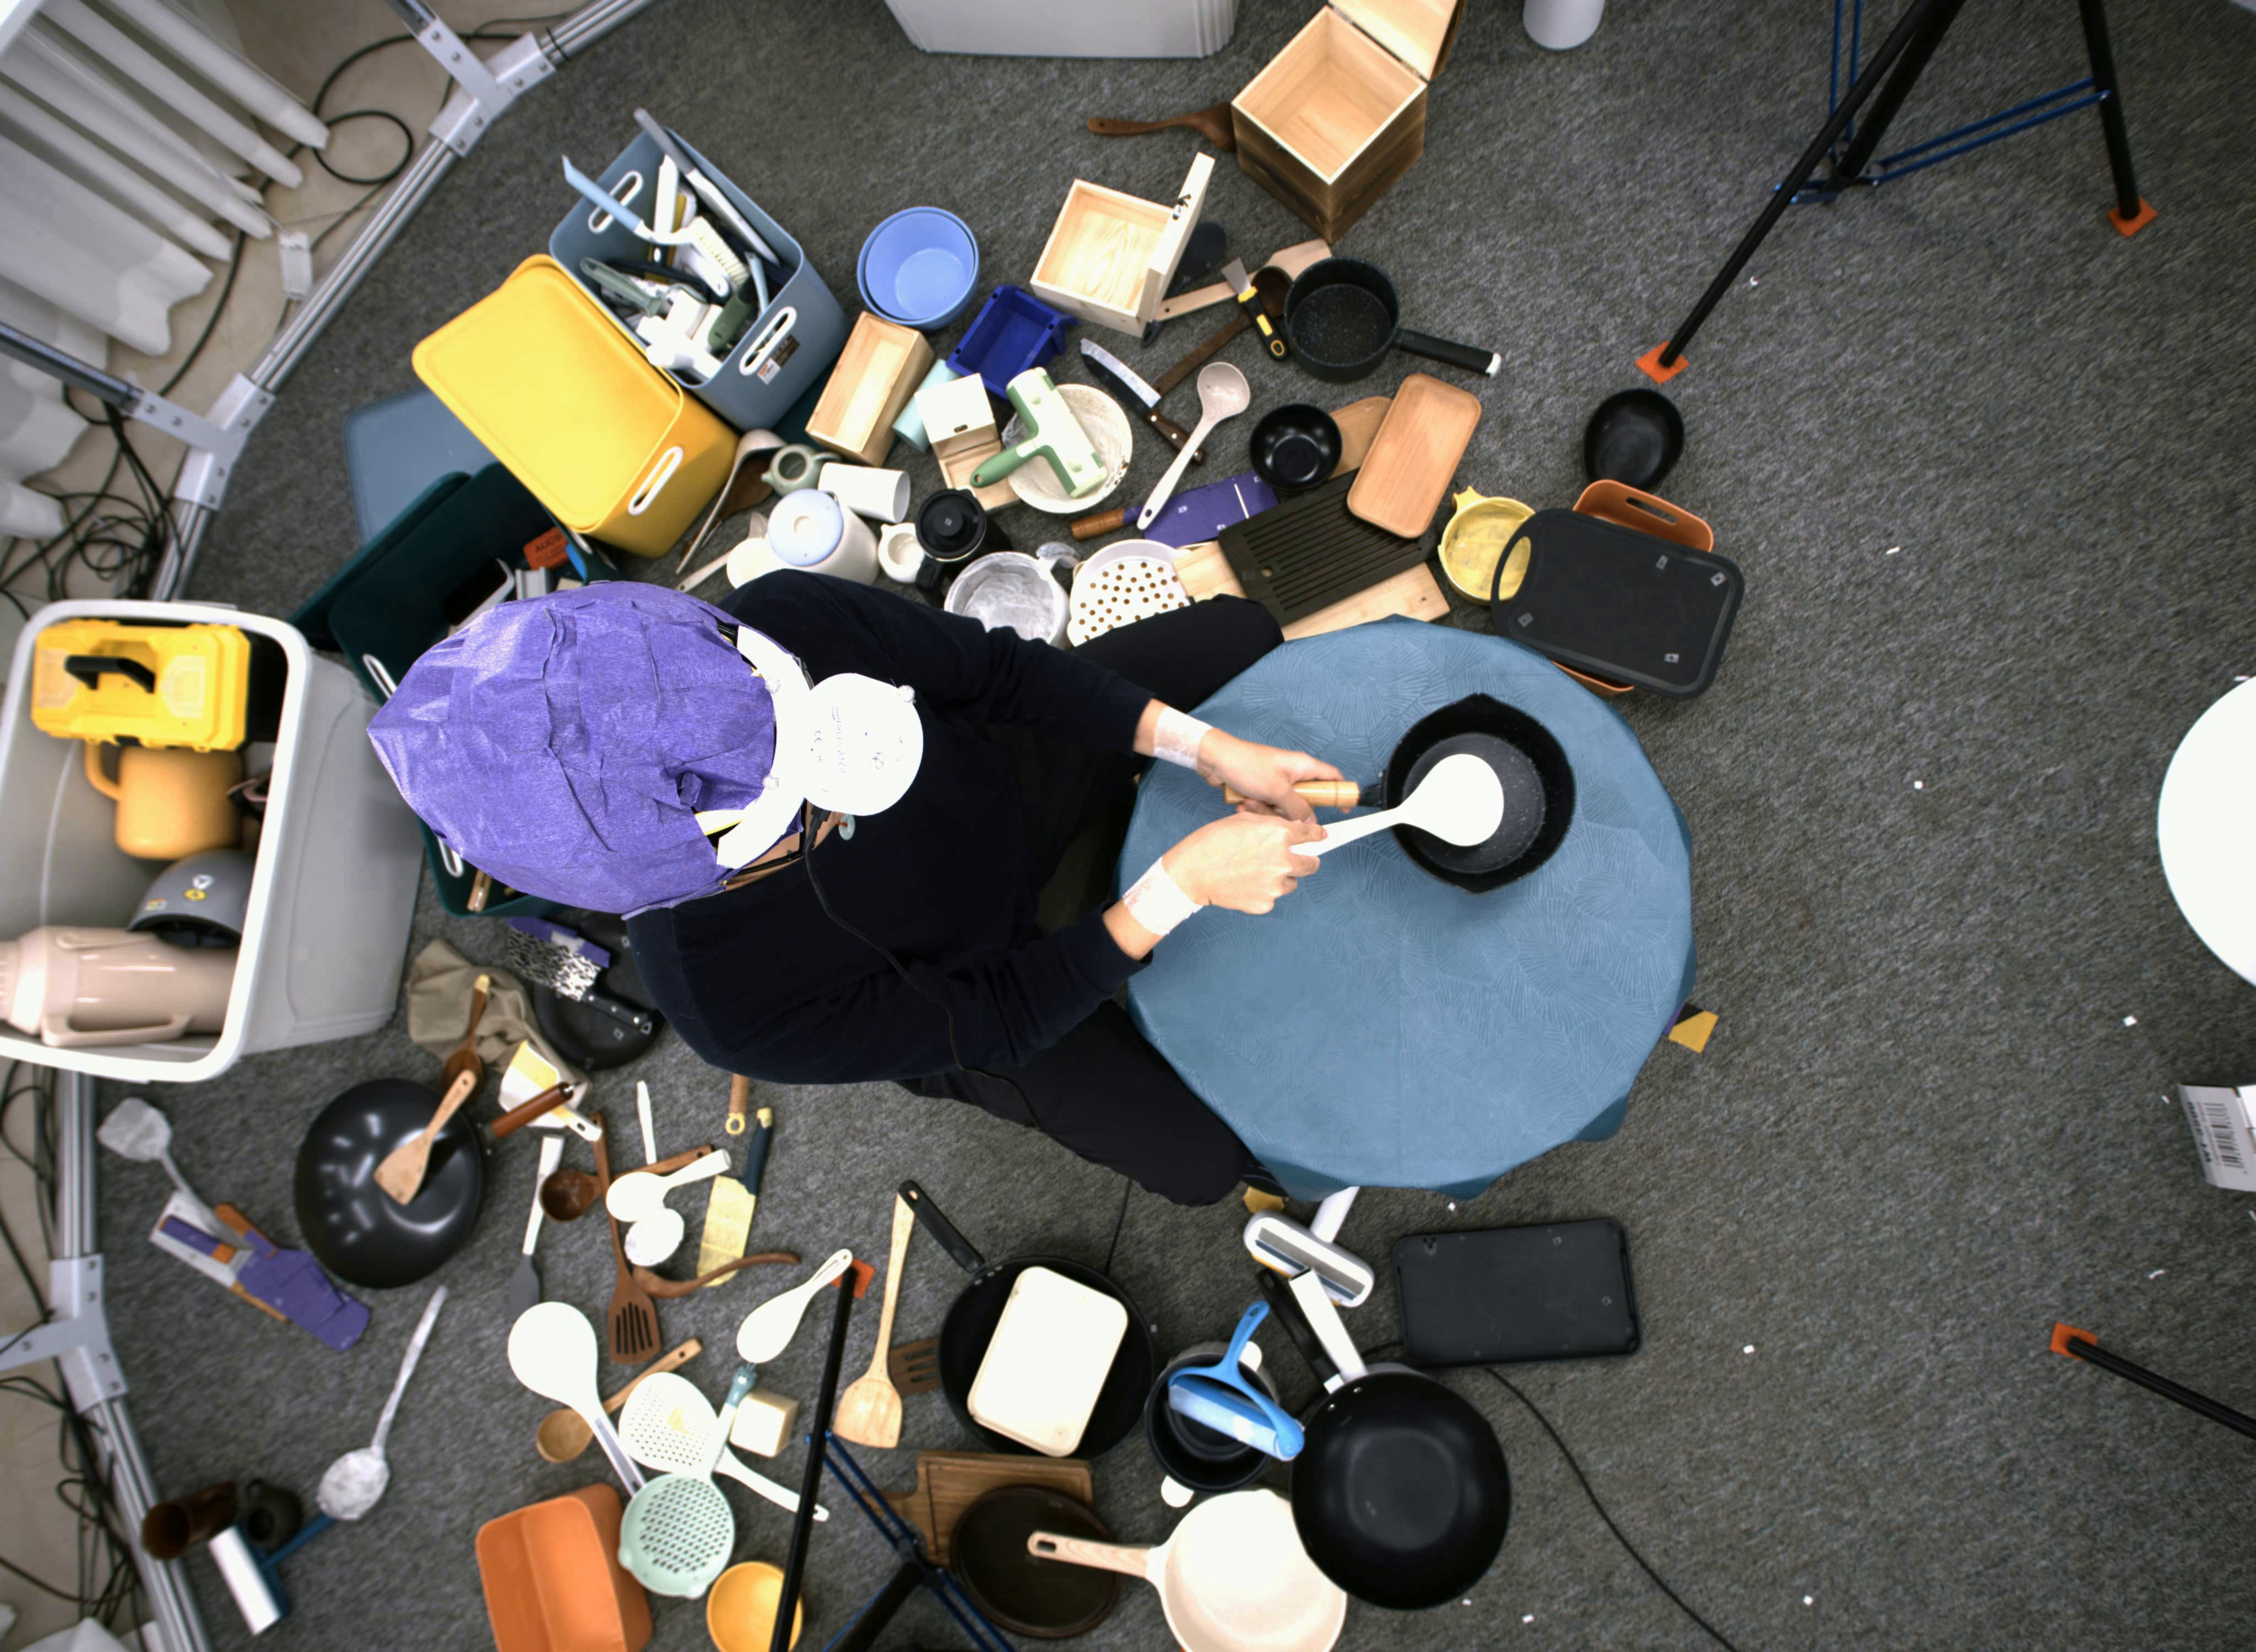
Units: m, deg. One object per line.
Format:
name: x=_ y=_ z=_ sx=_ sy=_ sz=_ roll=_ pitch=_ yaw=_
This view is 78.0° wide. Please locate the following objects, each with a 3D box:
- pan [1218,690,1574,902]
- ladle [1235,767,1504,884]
pan: x=0.263 y=-0.028 z=1.373 sx=0.344 sy=0.108 sz=0.207 roll=0 pitch=88 yaw=9
ladle: x=0.233 y=0.007 z=1.299 sx=0.289 sy=0.070 sz=0.091 roll=-14 pitch=102 yaw=-33
